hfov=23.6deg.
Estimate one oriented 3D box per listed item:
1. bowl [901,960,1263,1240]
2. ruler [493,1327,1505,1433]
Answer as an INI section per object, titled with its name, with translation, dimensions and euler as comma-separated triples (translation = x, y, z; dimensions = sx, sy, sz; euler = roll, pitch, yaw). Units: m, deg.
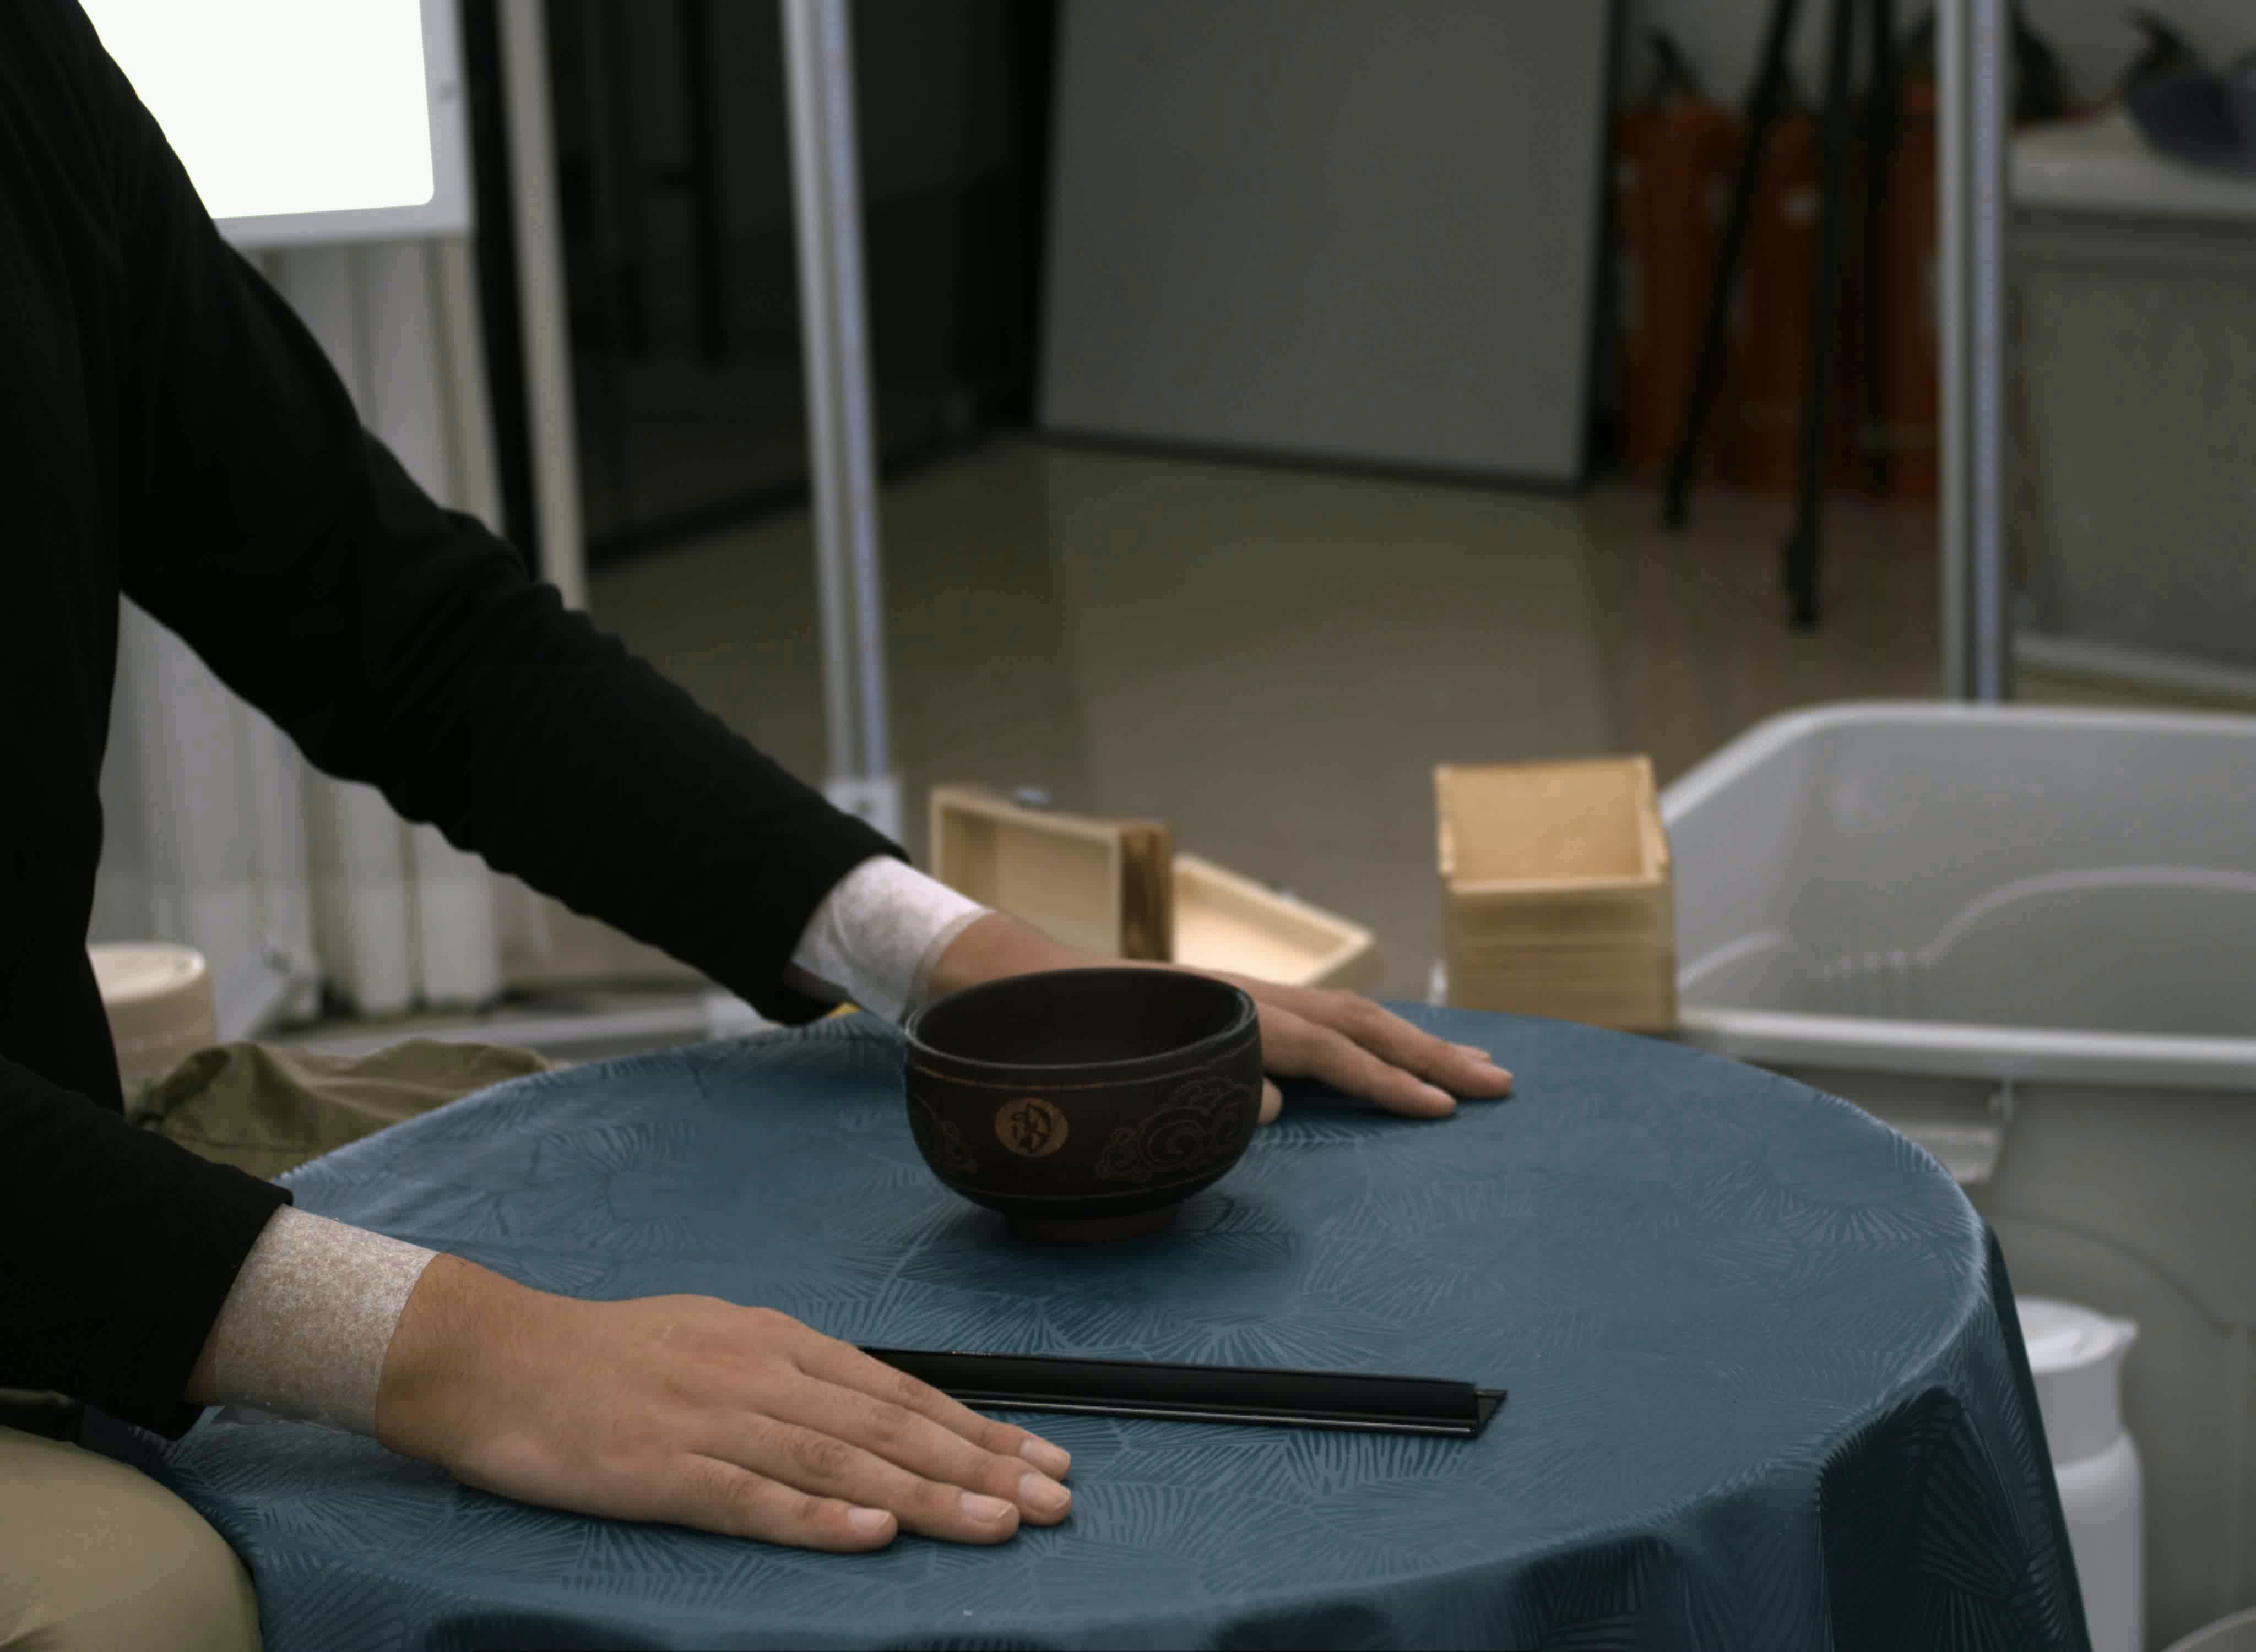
[bowl]
translation = -0.014, 0.092, 1.739
dimensions = 0.116, 0.070, 0.118
euler = -3, 13, 0
[ruler]
translation = -0.041, 0.159, 1.595
dimensions = 0.312, 0.017, 0.039
euler = 1, 10, 21
